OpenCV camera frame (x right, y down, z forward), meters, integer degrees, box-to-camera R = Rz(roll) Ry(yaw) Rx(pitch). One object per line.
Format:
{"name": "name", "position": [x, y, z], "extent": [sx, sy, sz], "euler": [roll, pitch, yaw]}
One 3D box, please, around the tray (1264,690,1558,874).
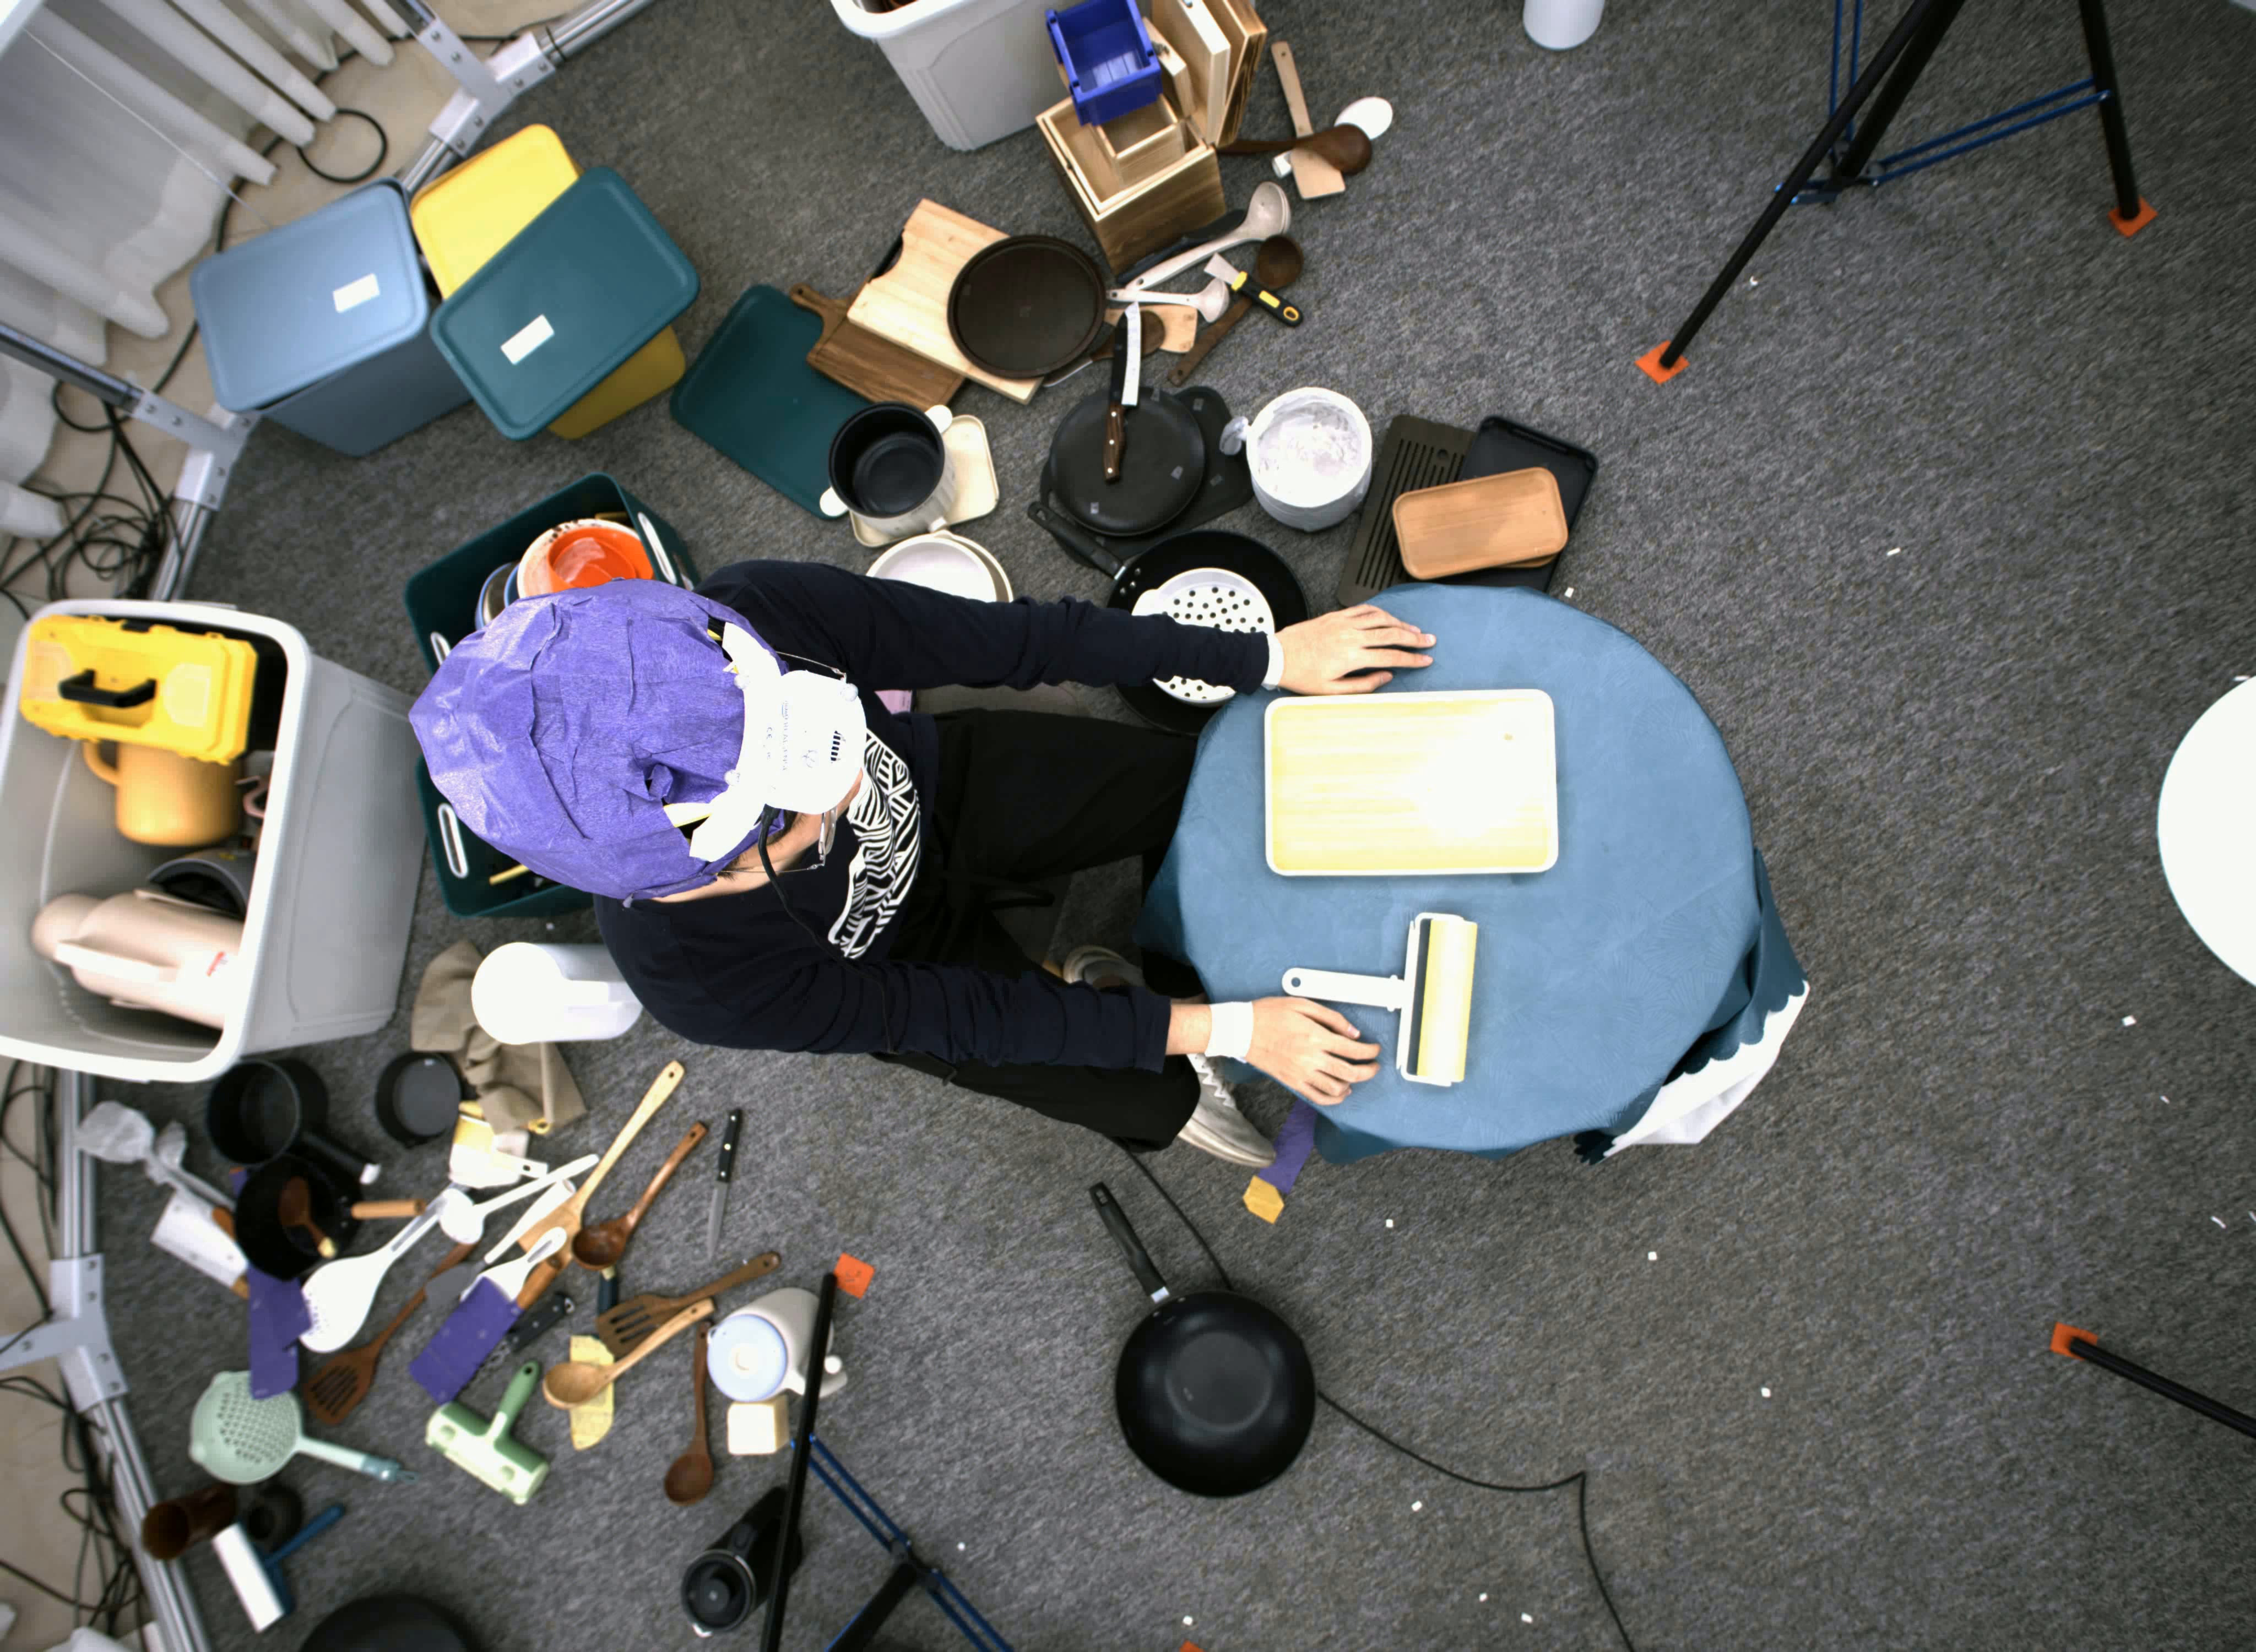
{"name": "tray", "position": [0.295, -0.046, 1.449], "extent": [0.301, 0.027, 0.190], "euler": [-1, 86, 11]}

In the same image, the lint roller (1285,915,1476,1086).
{"name": "lint roller", "position": [0.259, 0.173, 1.432], "extent": [0.192, 0.051, 0.173], "euler": [4, 87, 7]}
